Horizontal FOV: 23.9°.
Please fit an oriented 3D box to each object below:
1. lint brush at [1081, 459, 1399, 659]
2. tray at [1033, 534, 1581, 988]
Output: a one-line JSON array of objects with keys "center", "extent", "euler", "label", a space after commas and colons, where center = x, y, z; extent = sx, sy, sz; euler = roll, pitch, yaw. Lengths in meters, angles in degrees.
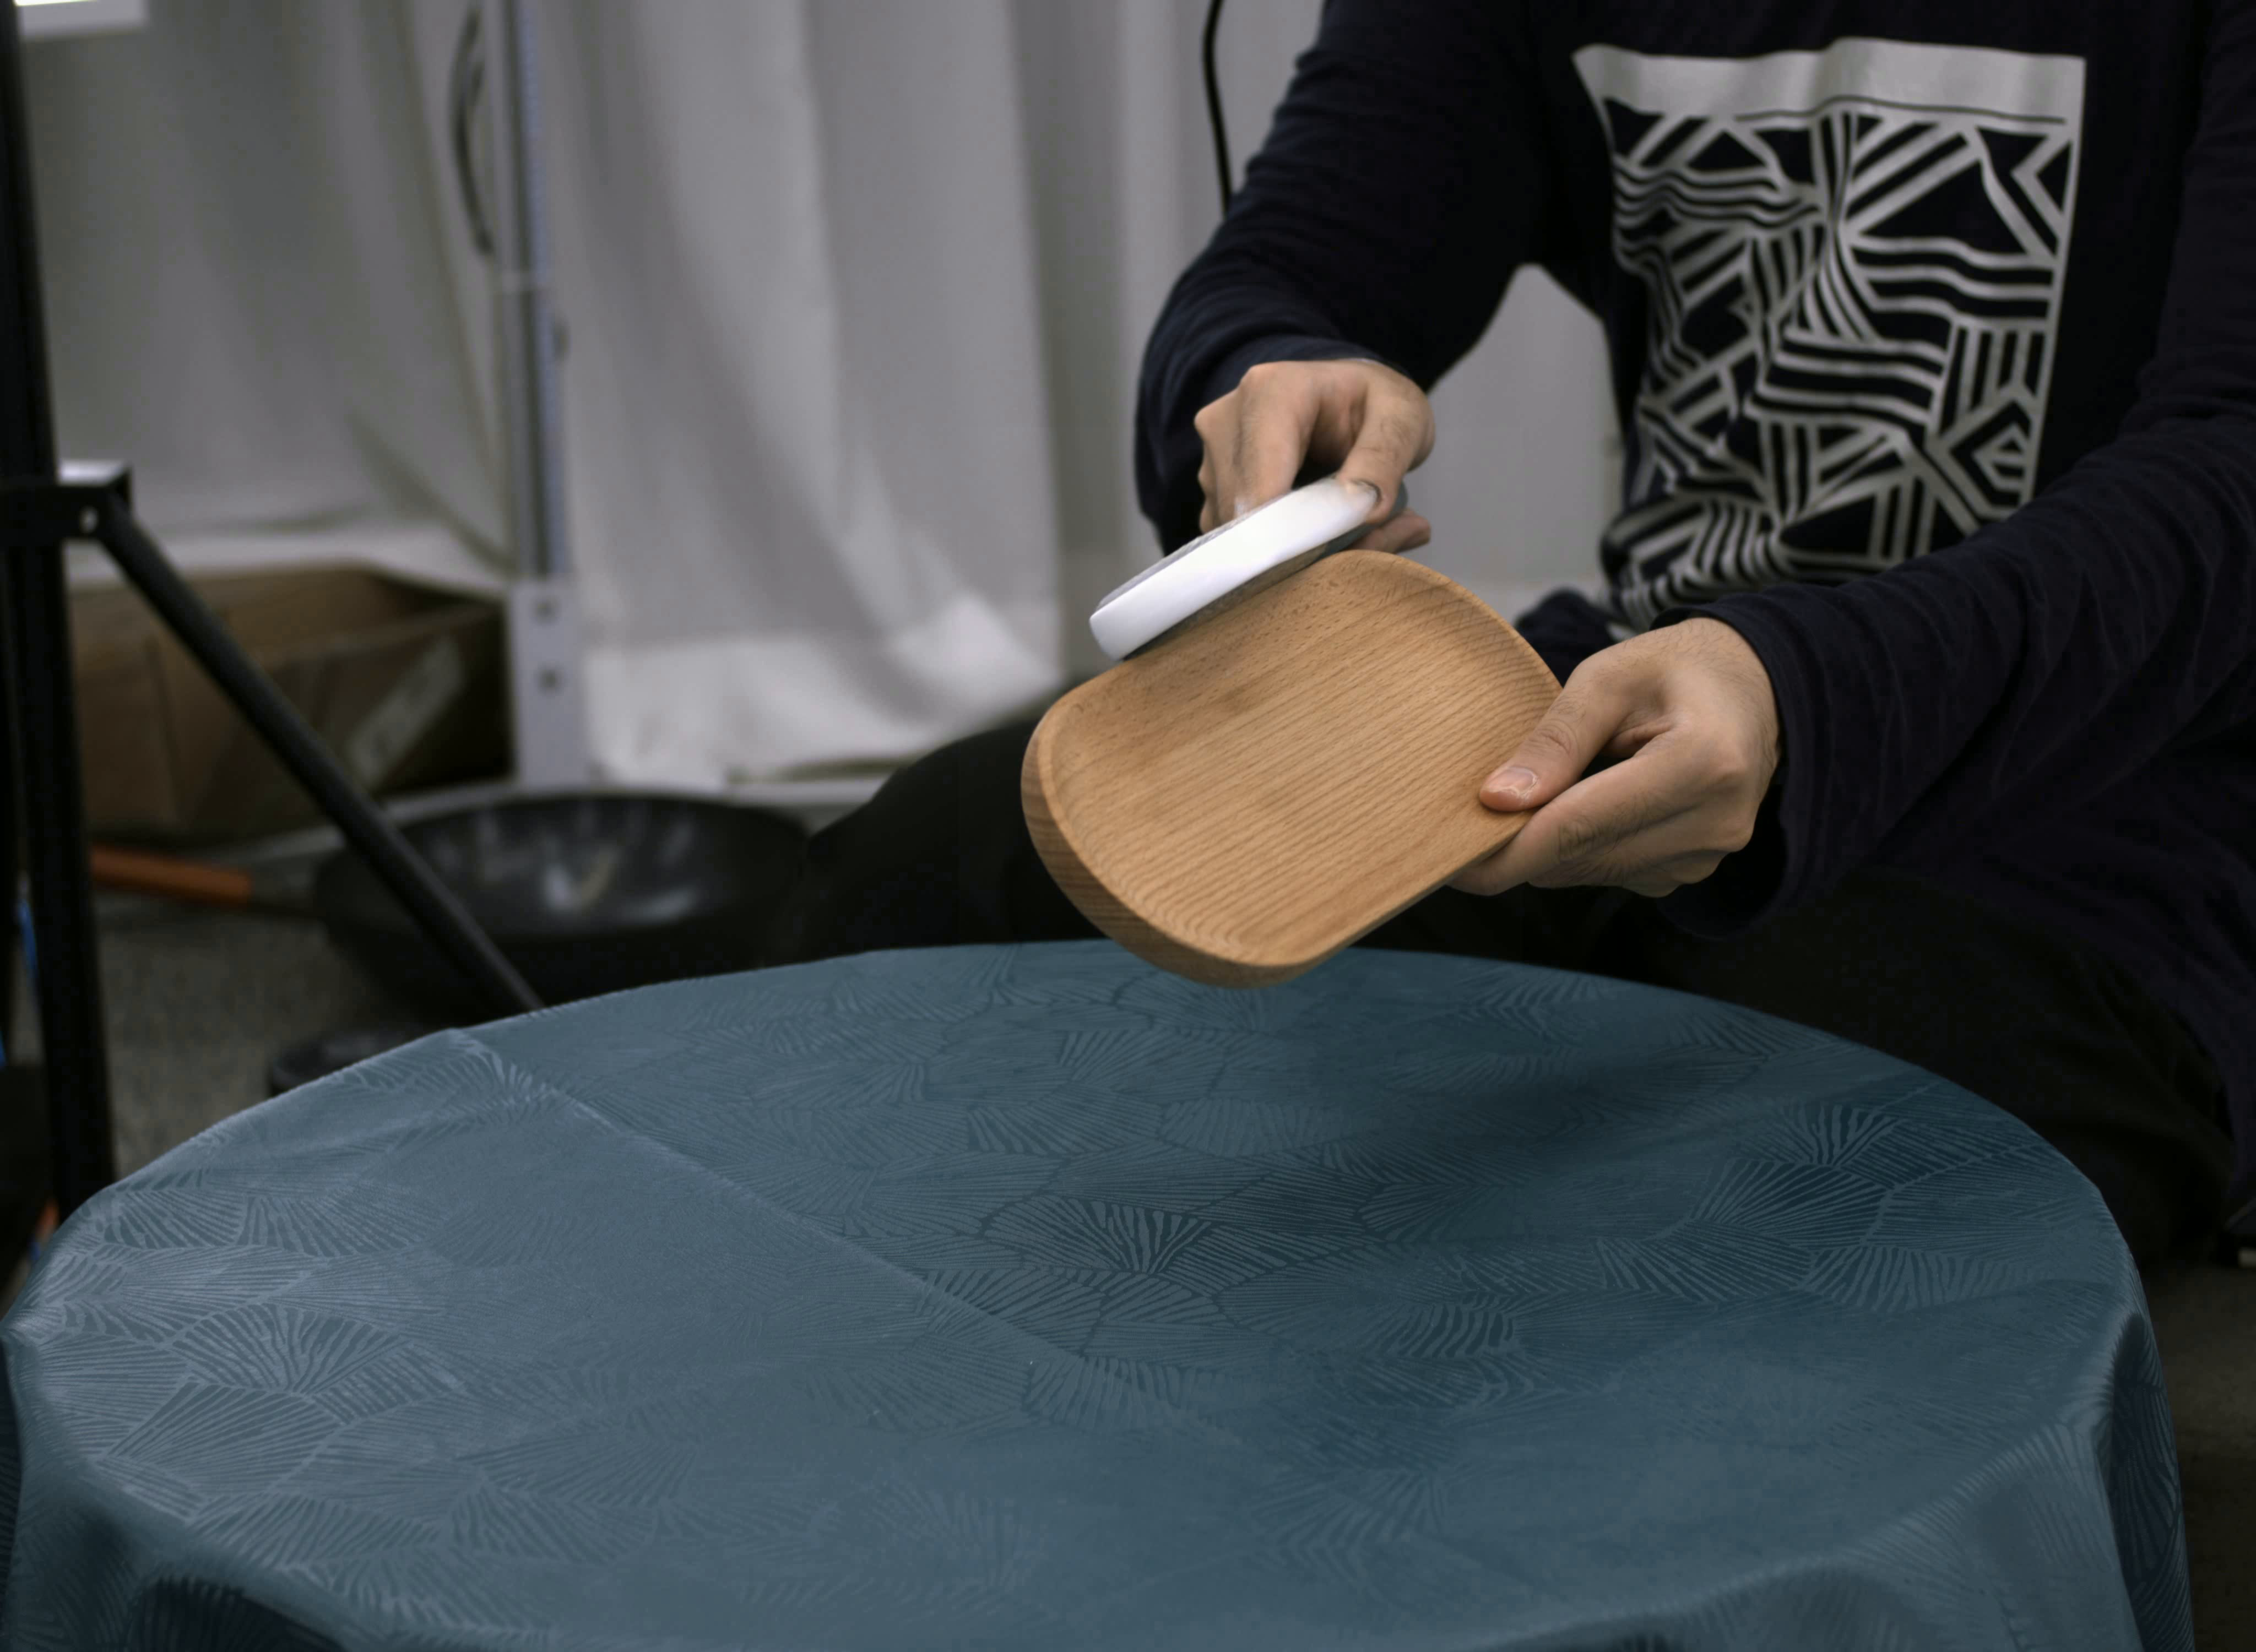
[{"center": [0.043, -0.086, 1.591], "extent": [0.060, 0.021, 0.306], "euler": [-36, -1, 16], "label": "lint brush"}, {"center": [0.052, -0.019, 1.486], "extent": [0.102, 0.020, 0.227], "euler": [47, 36, 9], "label": "tray"}]
